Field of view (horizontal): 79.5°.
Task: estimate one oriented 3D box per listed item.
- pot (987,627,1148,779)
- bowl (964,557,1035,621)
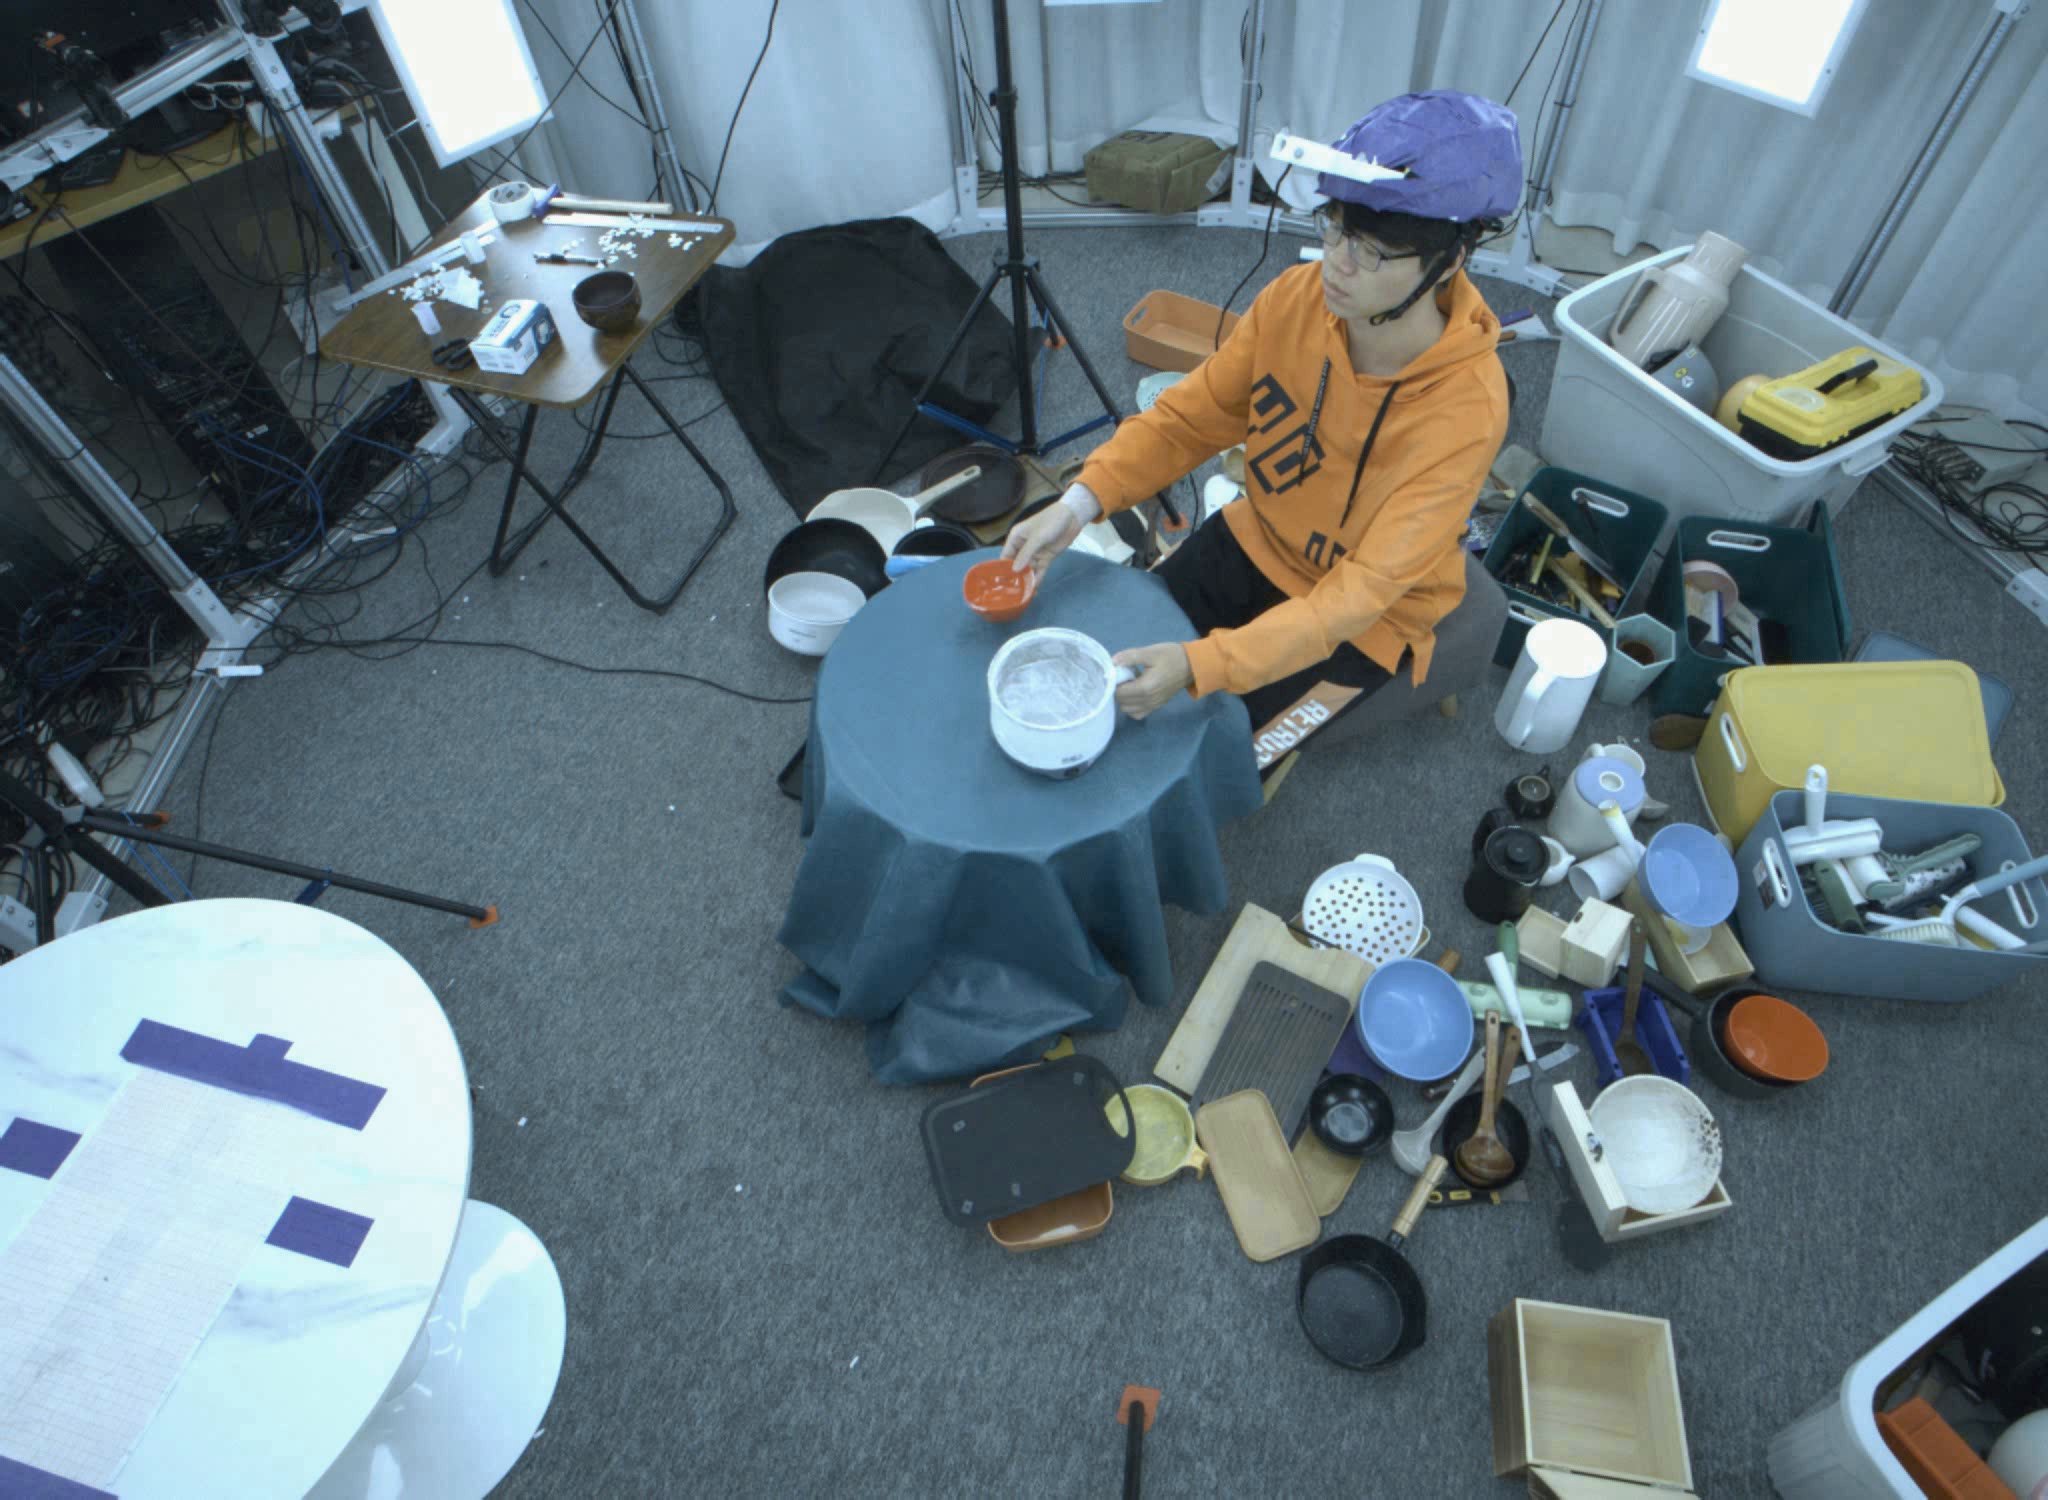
[{"bbox_3d":[0.066,-0.074,1.747,0.235,0.138,0.176,-17,59,-11],"label":"pot"},{"bbox_3d":[-0.035,-0.240,1.876,0.118,0.052,0.117,-3,51,5],"label":"bowl"}]
